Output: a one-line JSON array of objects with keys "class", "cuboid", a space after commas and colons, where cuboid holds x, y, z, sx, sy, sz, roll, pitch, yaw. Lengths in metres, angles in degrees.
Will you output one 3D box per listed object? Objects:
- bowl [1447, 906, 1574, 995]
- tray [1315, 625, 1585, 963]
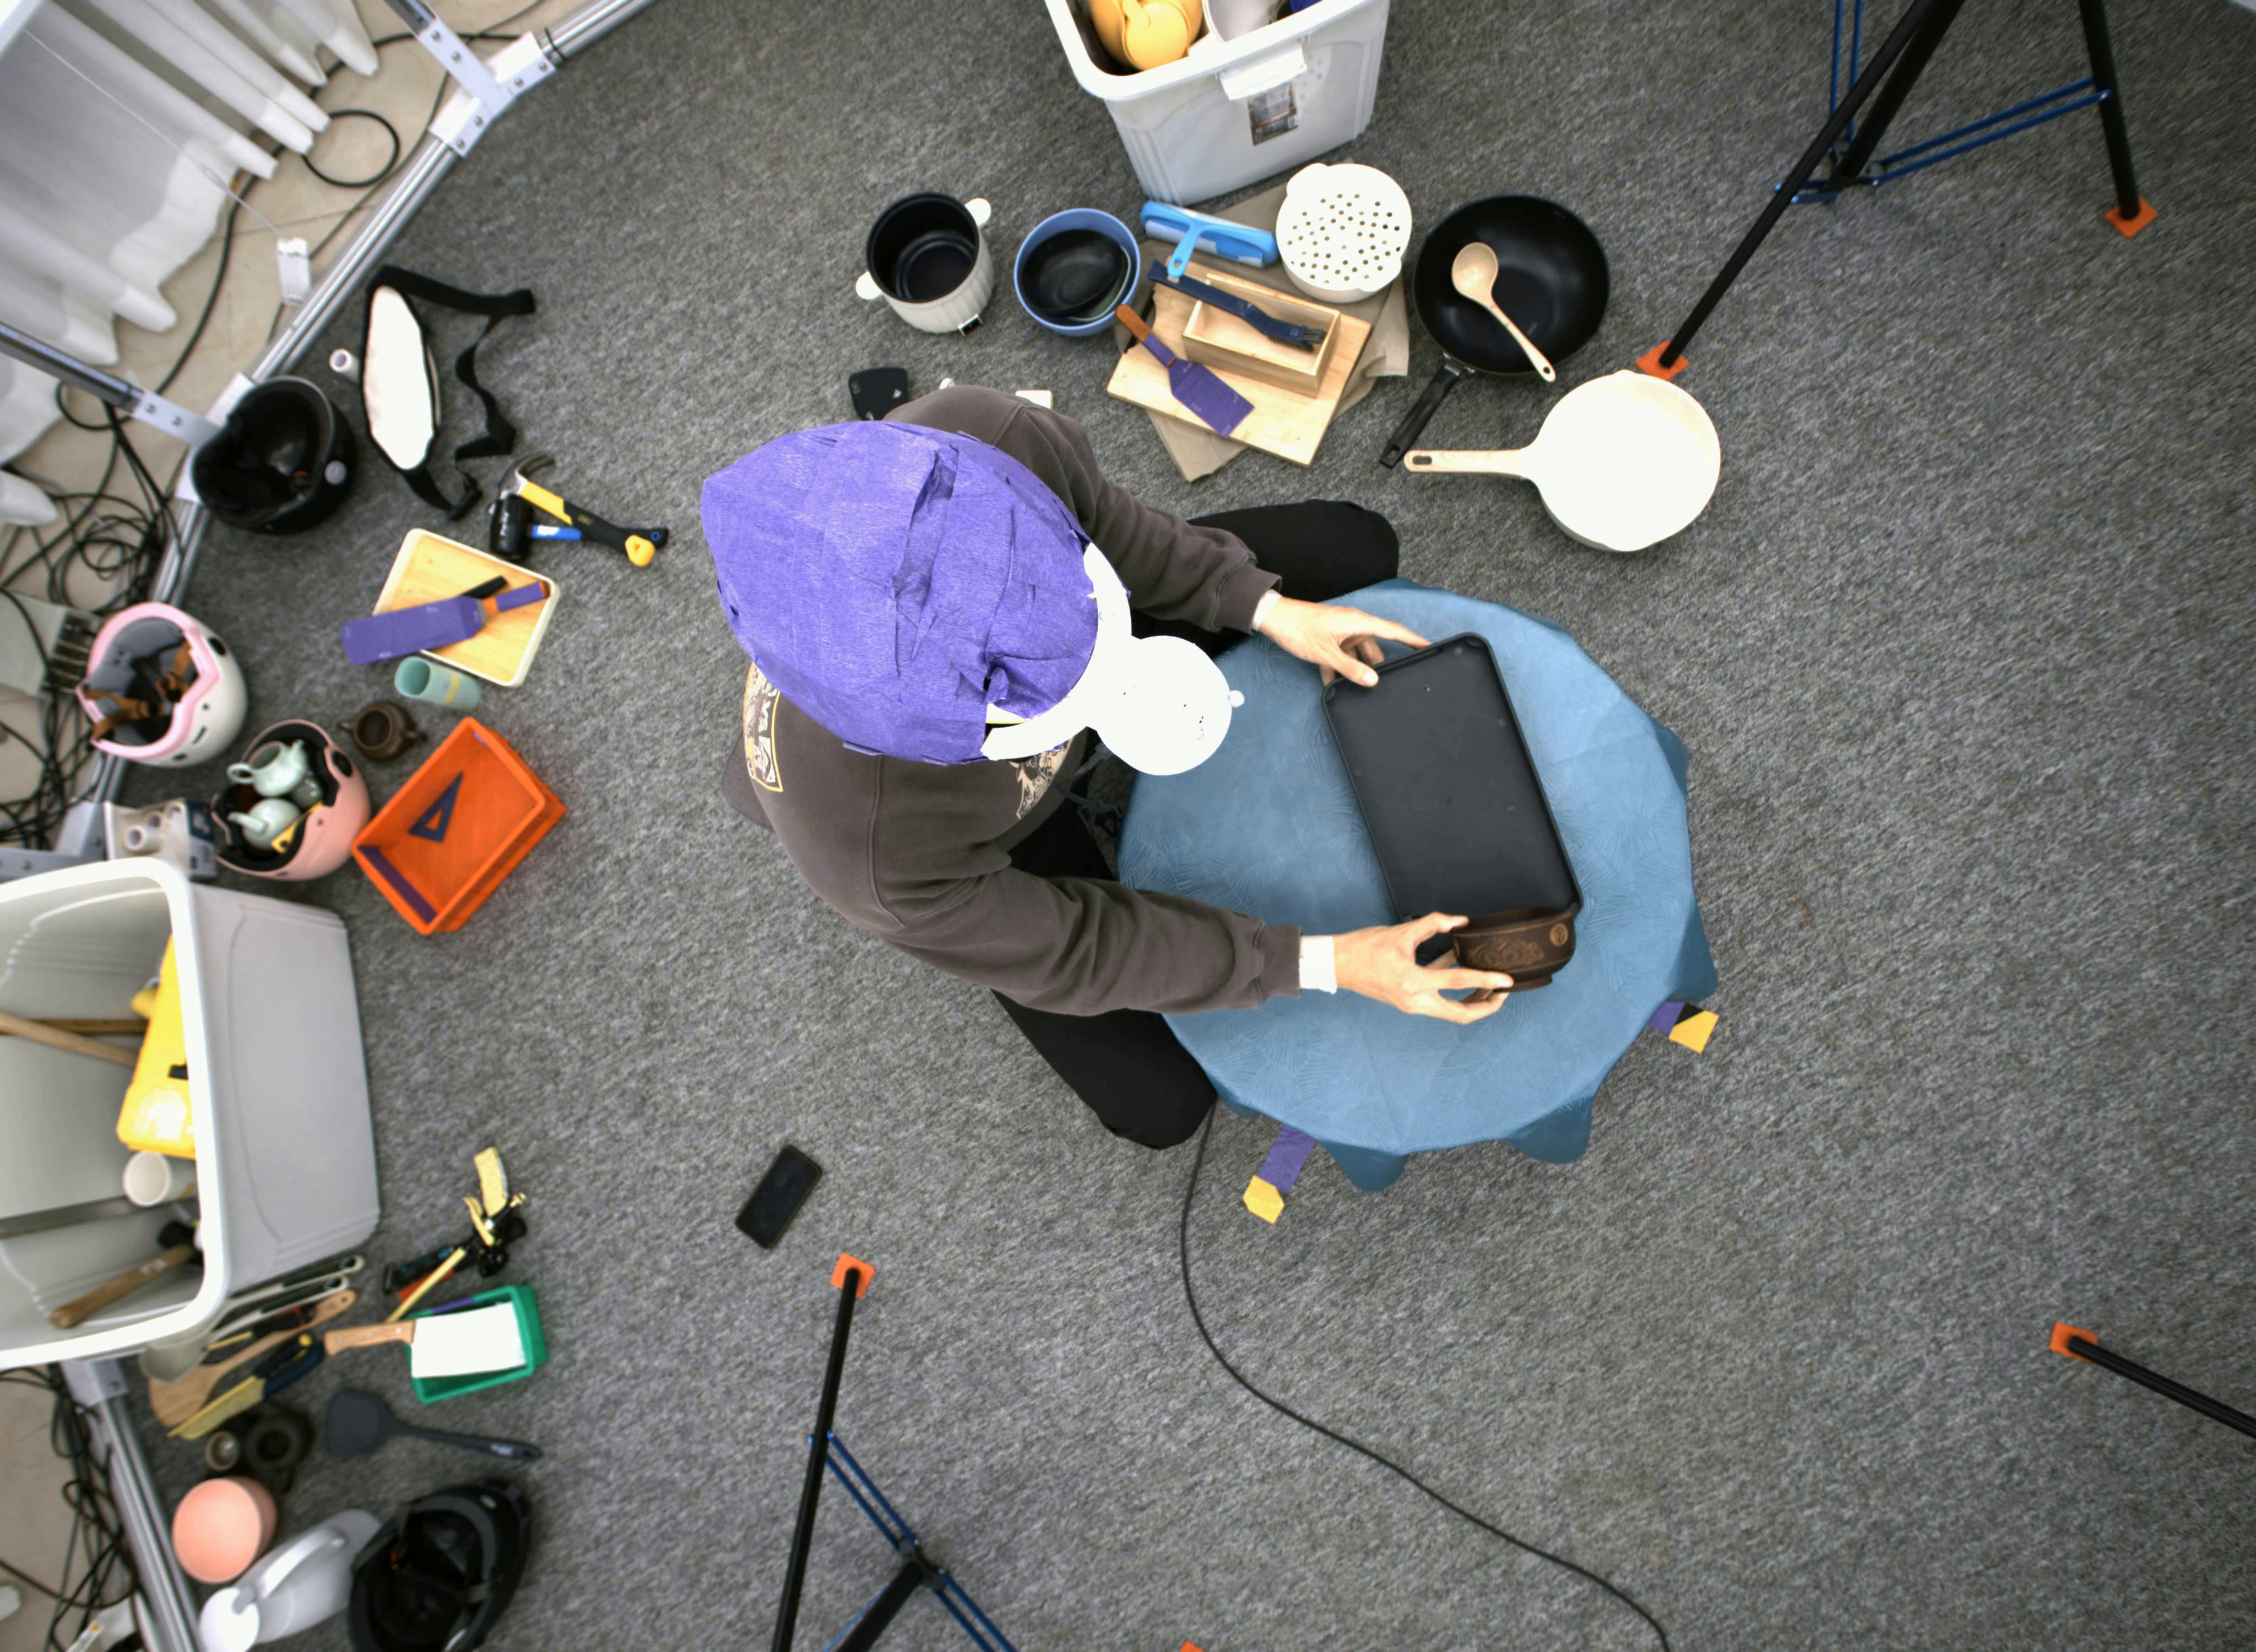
[{"class": "bowl", "cuboid": [0.371, 0.120, 1.324, 0.118, 0.117, 0.070, -12, 91, 9]}, {"class": "tray", "cuboid": [0.331, -0.034, 1.423, 0.185, 0.037, 0.317, -21, 88, 10]}]
